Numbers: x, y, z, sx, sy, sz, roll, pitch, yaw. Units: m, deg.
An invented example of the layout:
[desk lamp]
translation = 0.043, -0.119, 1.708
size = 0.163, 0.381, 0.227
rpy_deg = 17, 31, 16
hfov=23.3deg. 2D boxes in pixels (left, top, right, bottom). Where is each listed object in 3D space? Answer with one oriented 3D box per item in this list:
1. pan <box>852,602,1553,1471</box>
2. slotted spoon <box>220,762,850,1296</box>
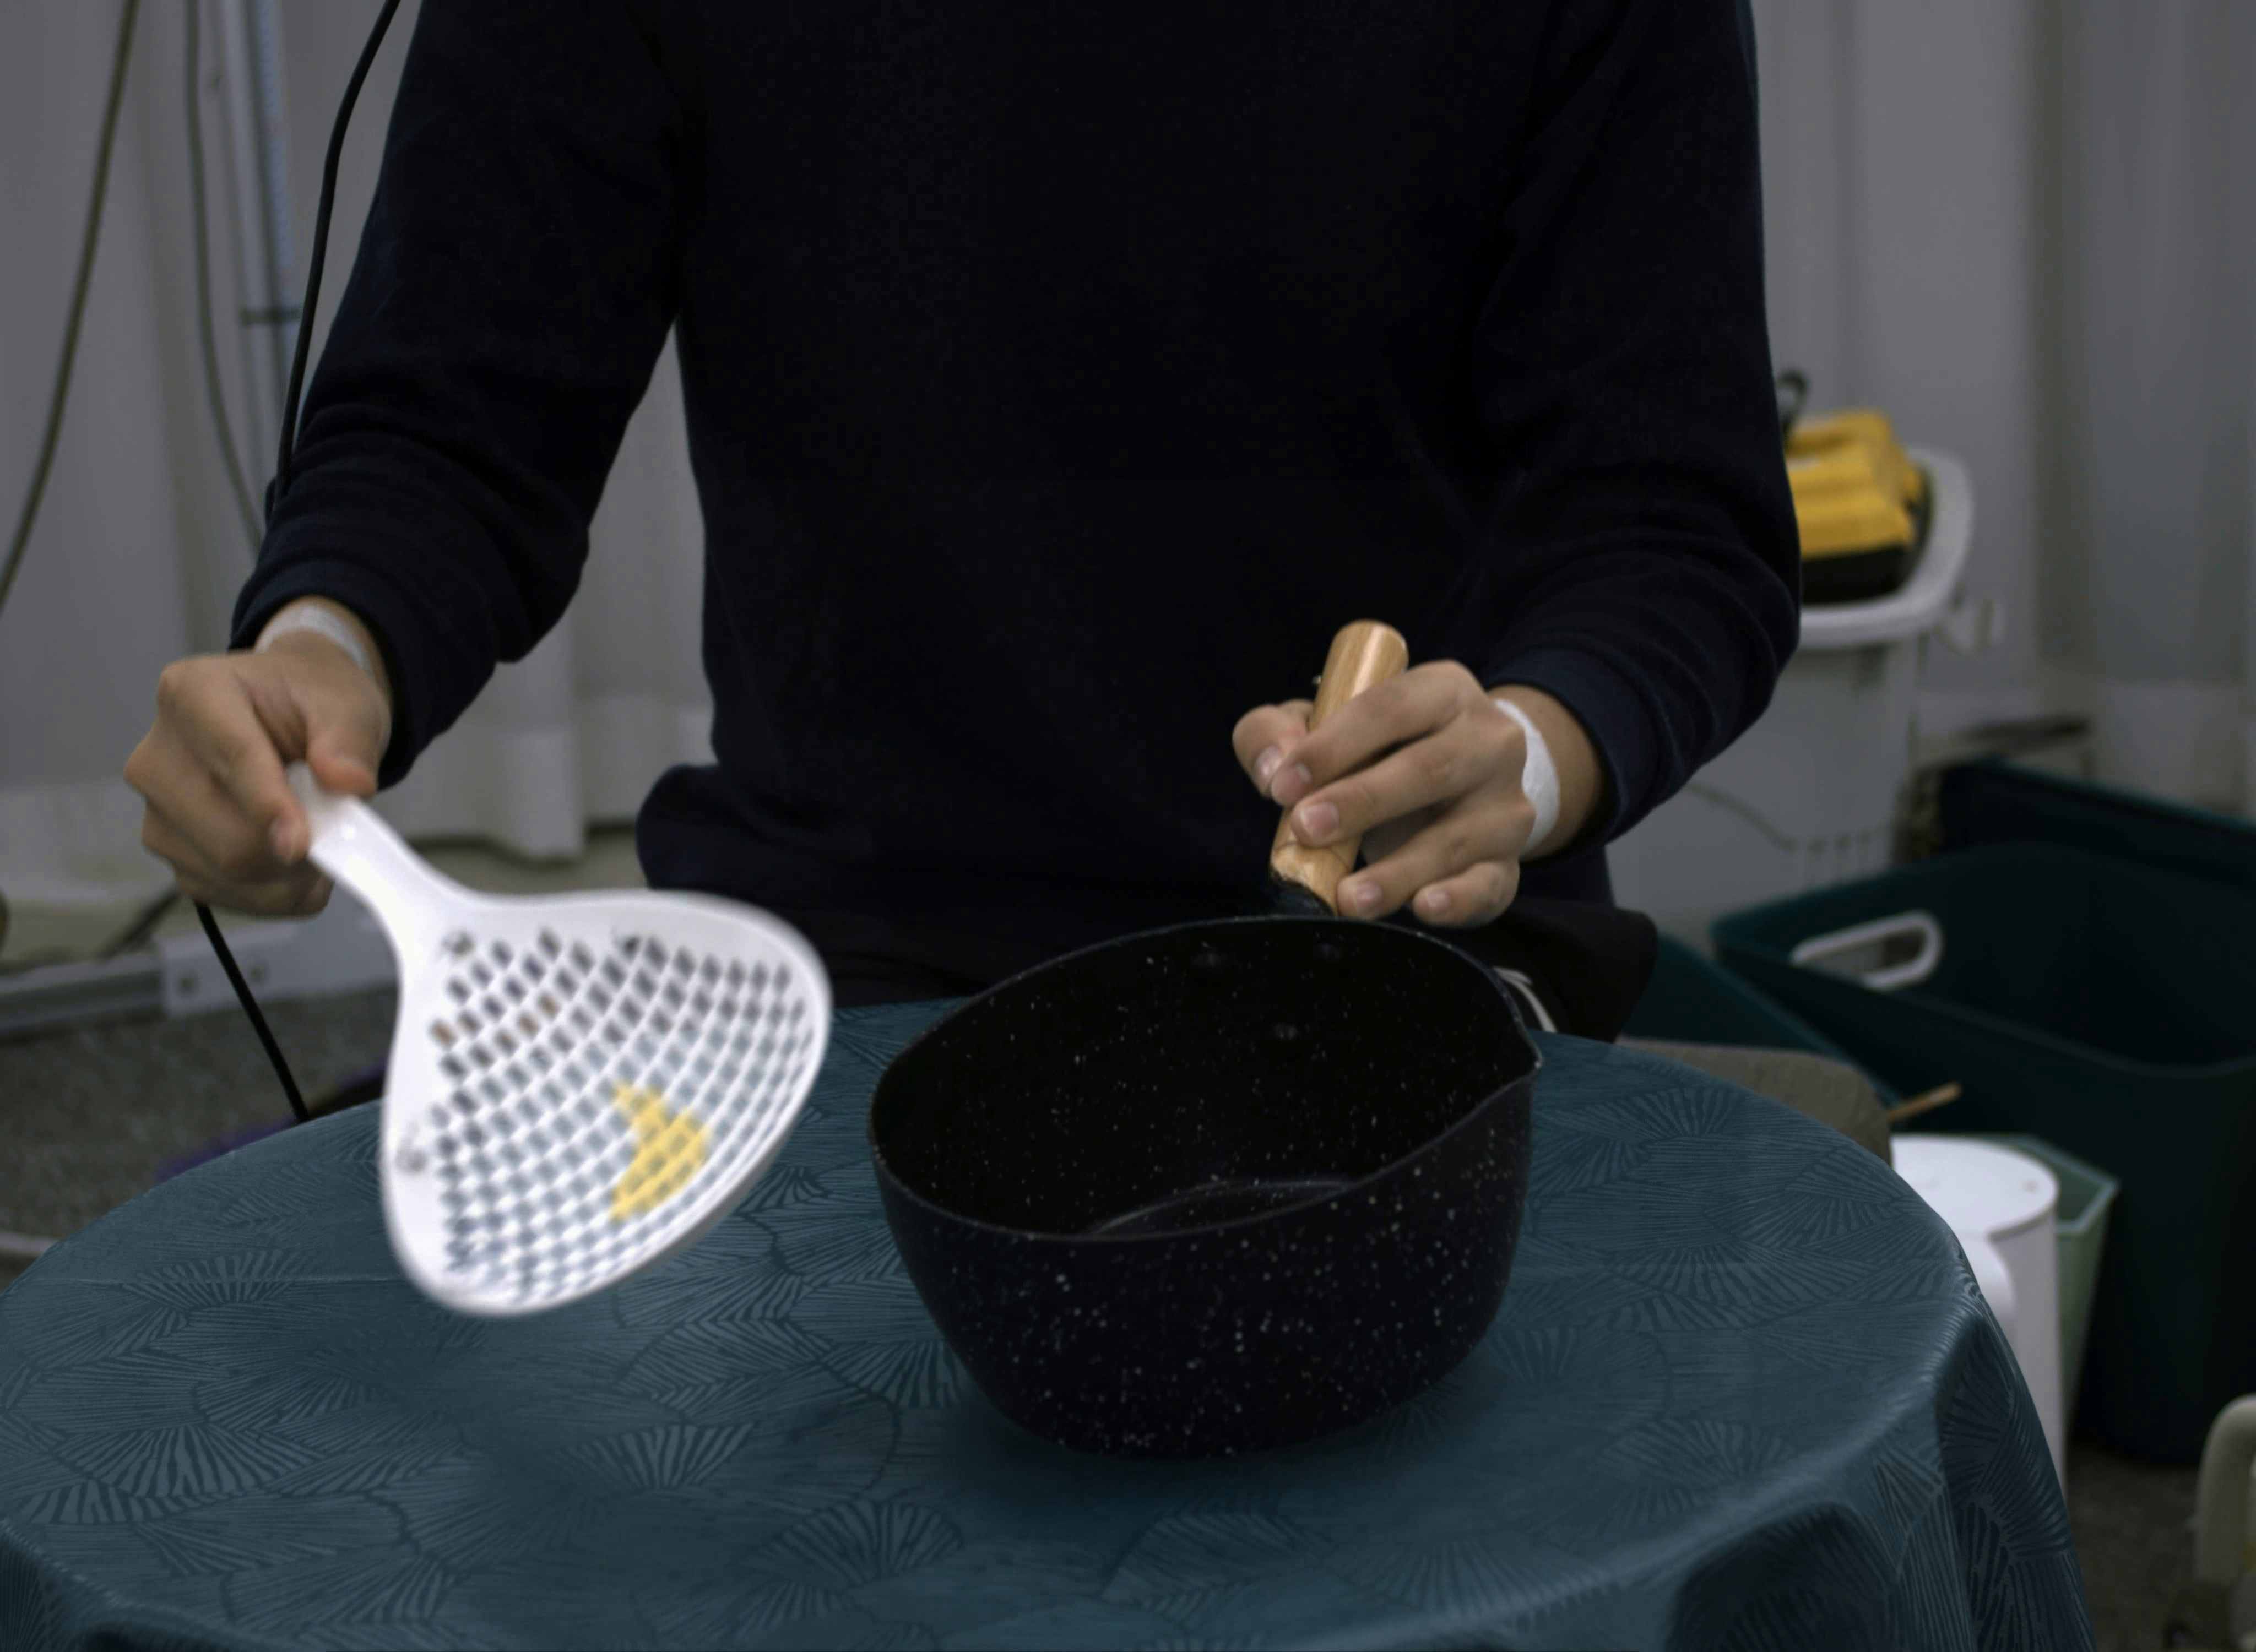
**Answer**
[pan]
translation = 0.041, 0.057, 1.598
size = 0.207, 0.107, 0.346
rpy_deg = -5, 27, 18
[slotted spoon]
translation = -0.185, 0.034, 1.545
size = 0.137, 0.049, 0.352
rpy_deg = -46, 41, -8
